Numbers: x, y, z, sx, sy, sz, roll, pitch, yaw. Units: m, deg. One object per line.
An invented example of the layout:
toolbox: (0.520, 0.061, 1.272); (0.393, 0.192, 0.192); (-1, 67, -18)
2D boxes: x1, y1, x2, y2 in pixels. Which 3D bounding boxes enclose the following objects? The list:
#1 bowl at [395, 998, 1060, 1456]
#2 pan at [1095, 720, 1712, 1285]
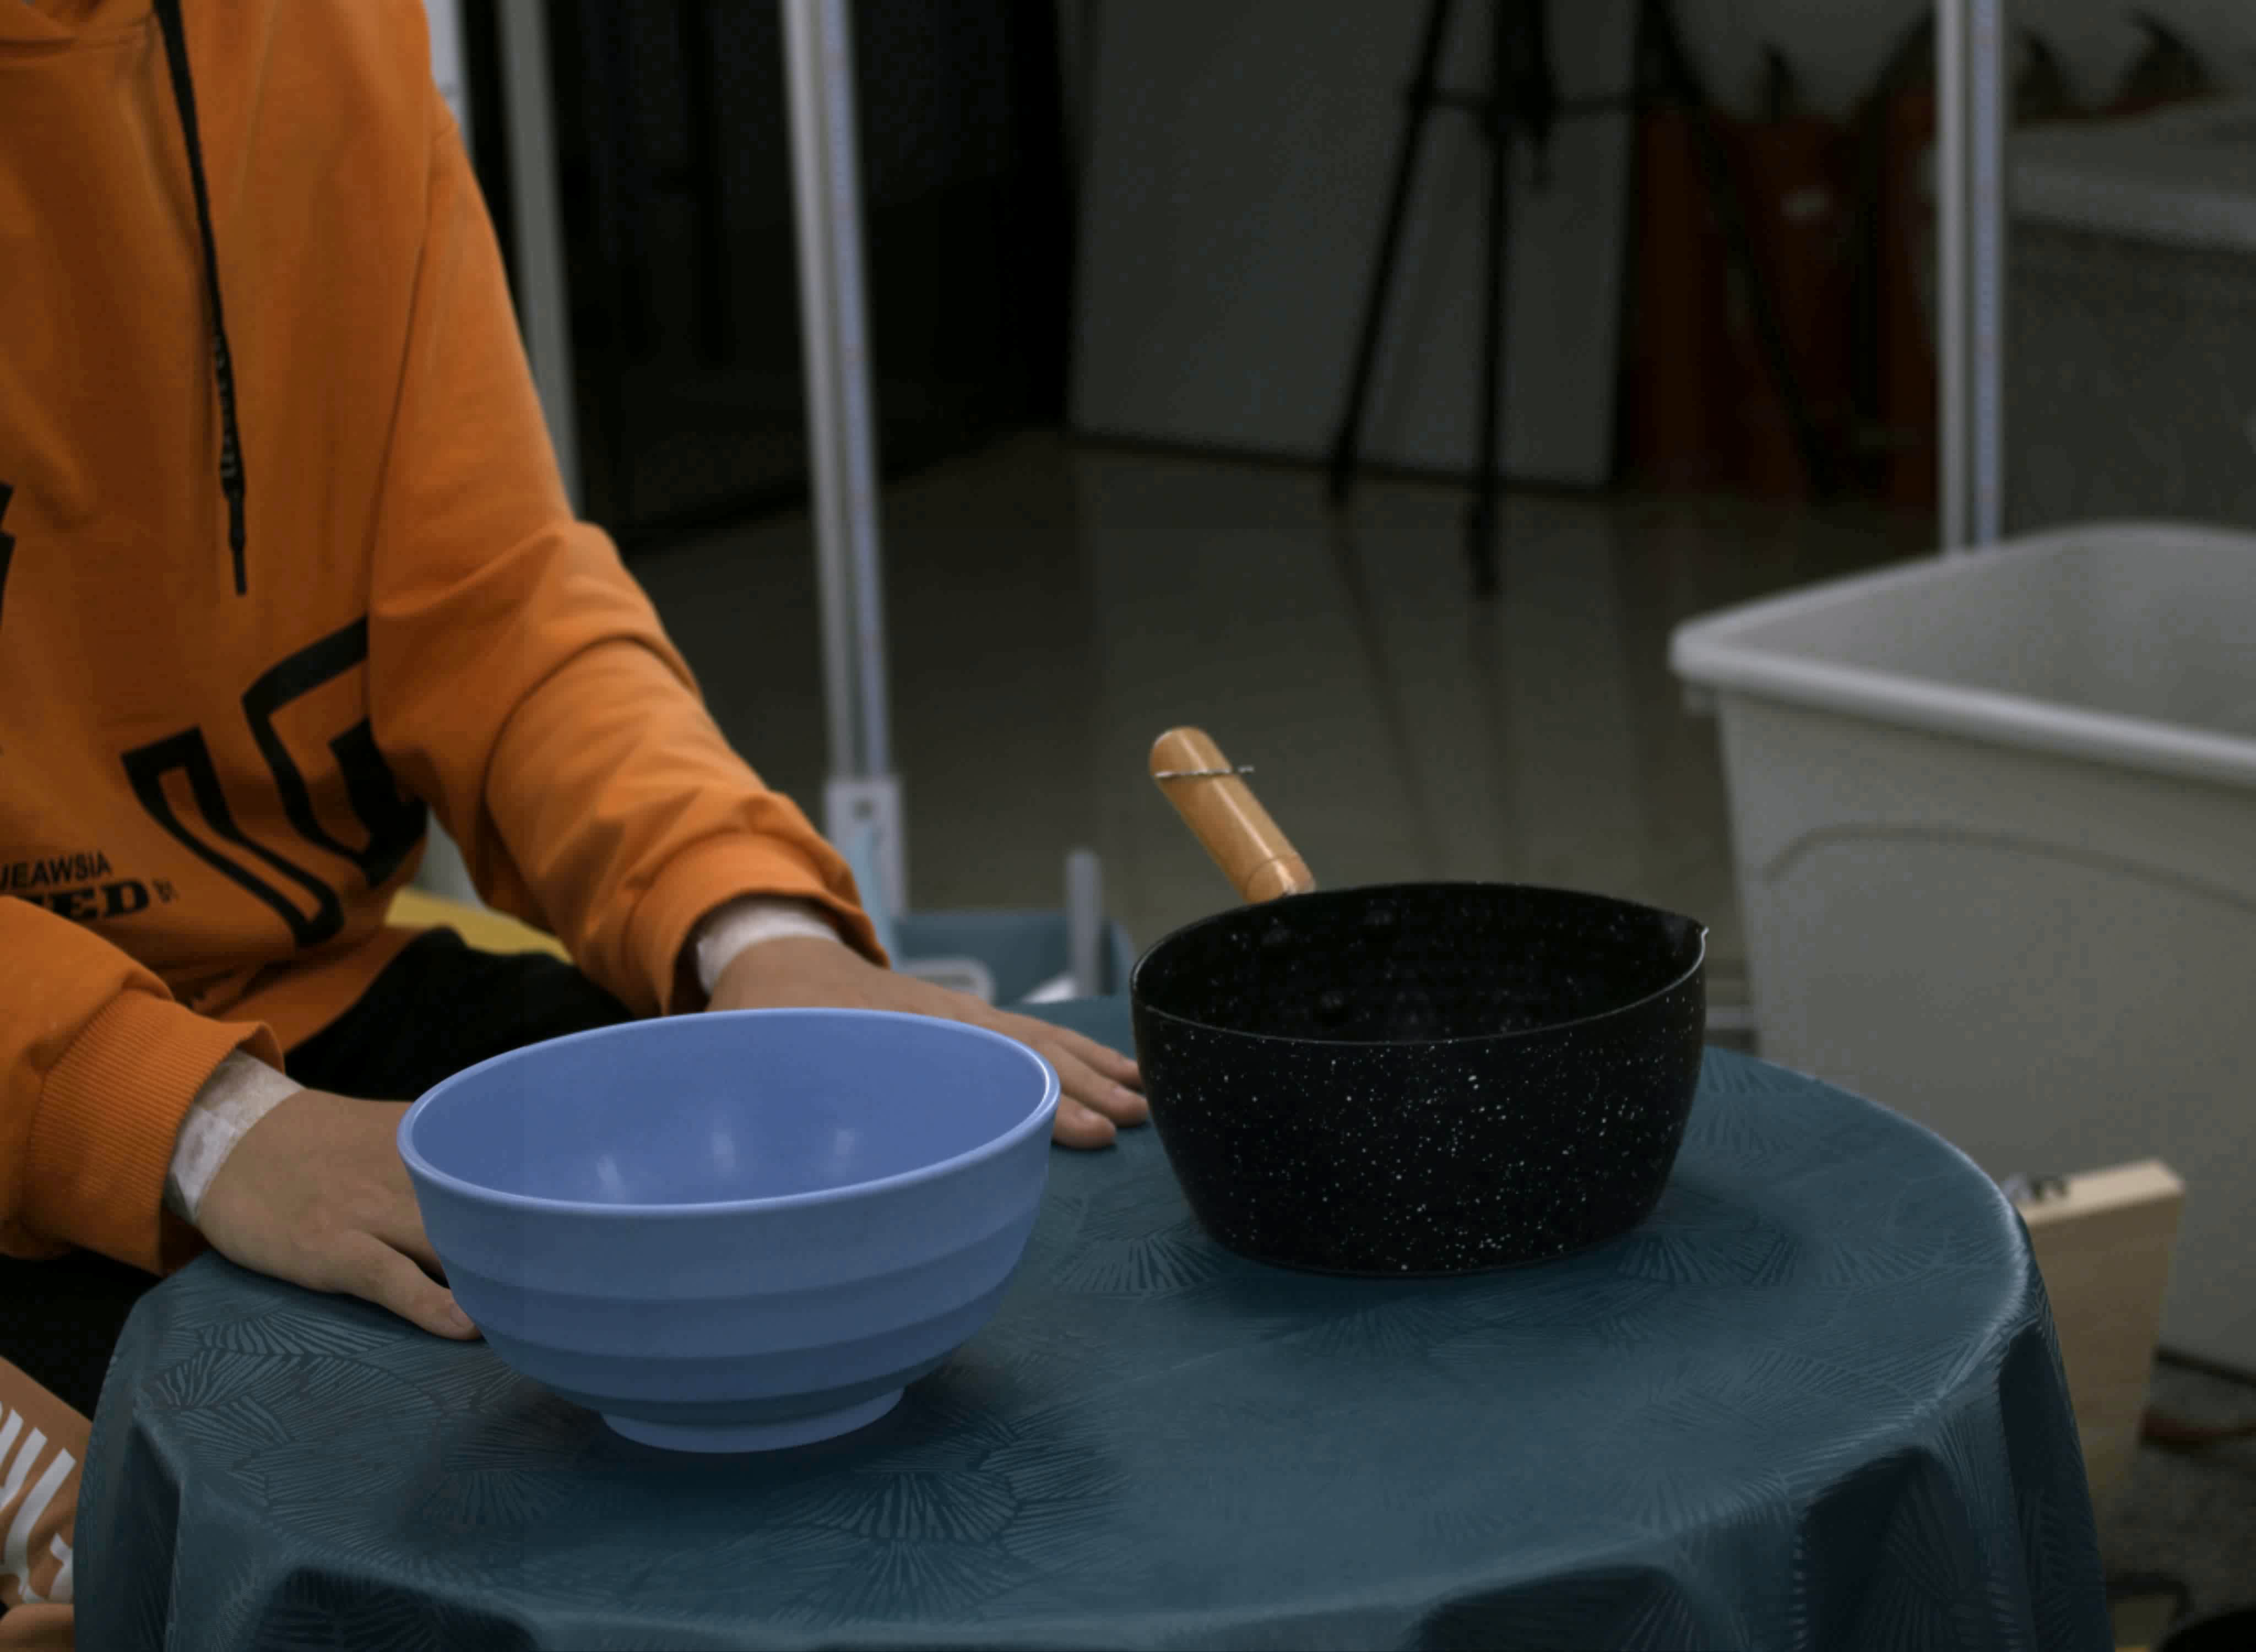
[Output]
bowl: (-0.114, 0.124, 1.590); (0.194, 0.096, 0.197); (-4, 15, 0)
pan: (0.069, 0.053, 1.797); (0.203, 0.109, 0.346); (-9, 16, -16)
